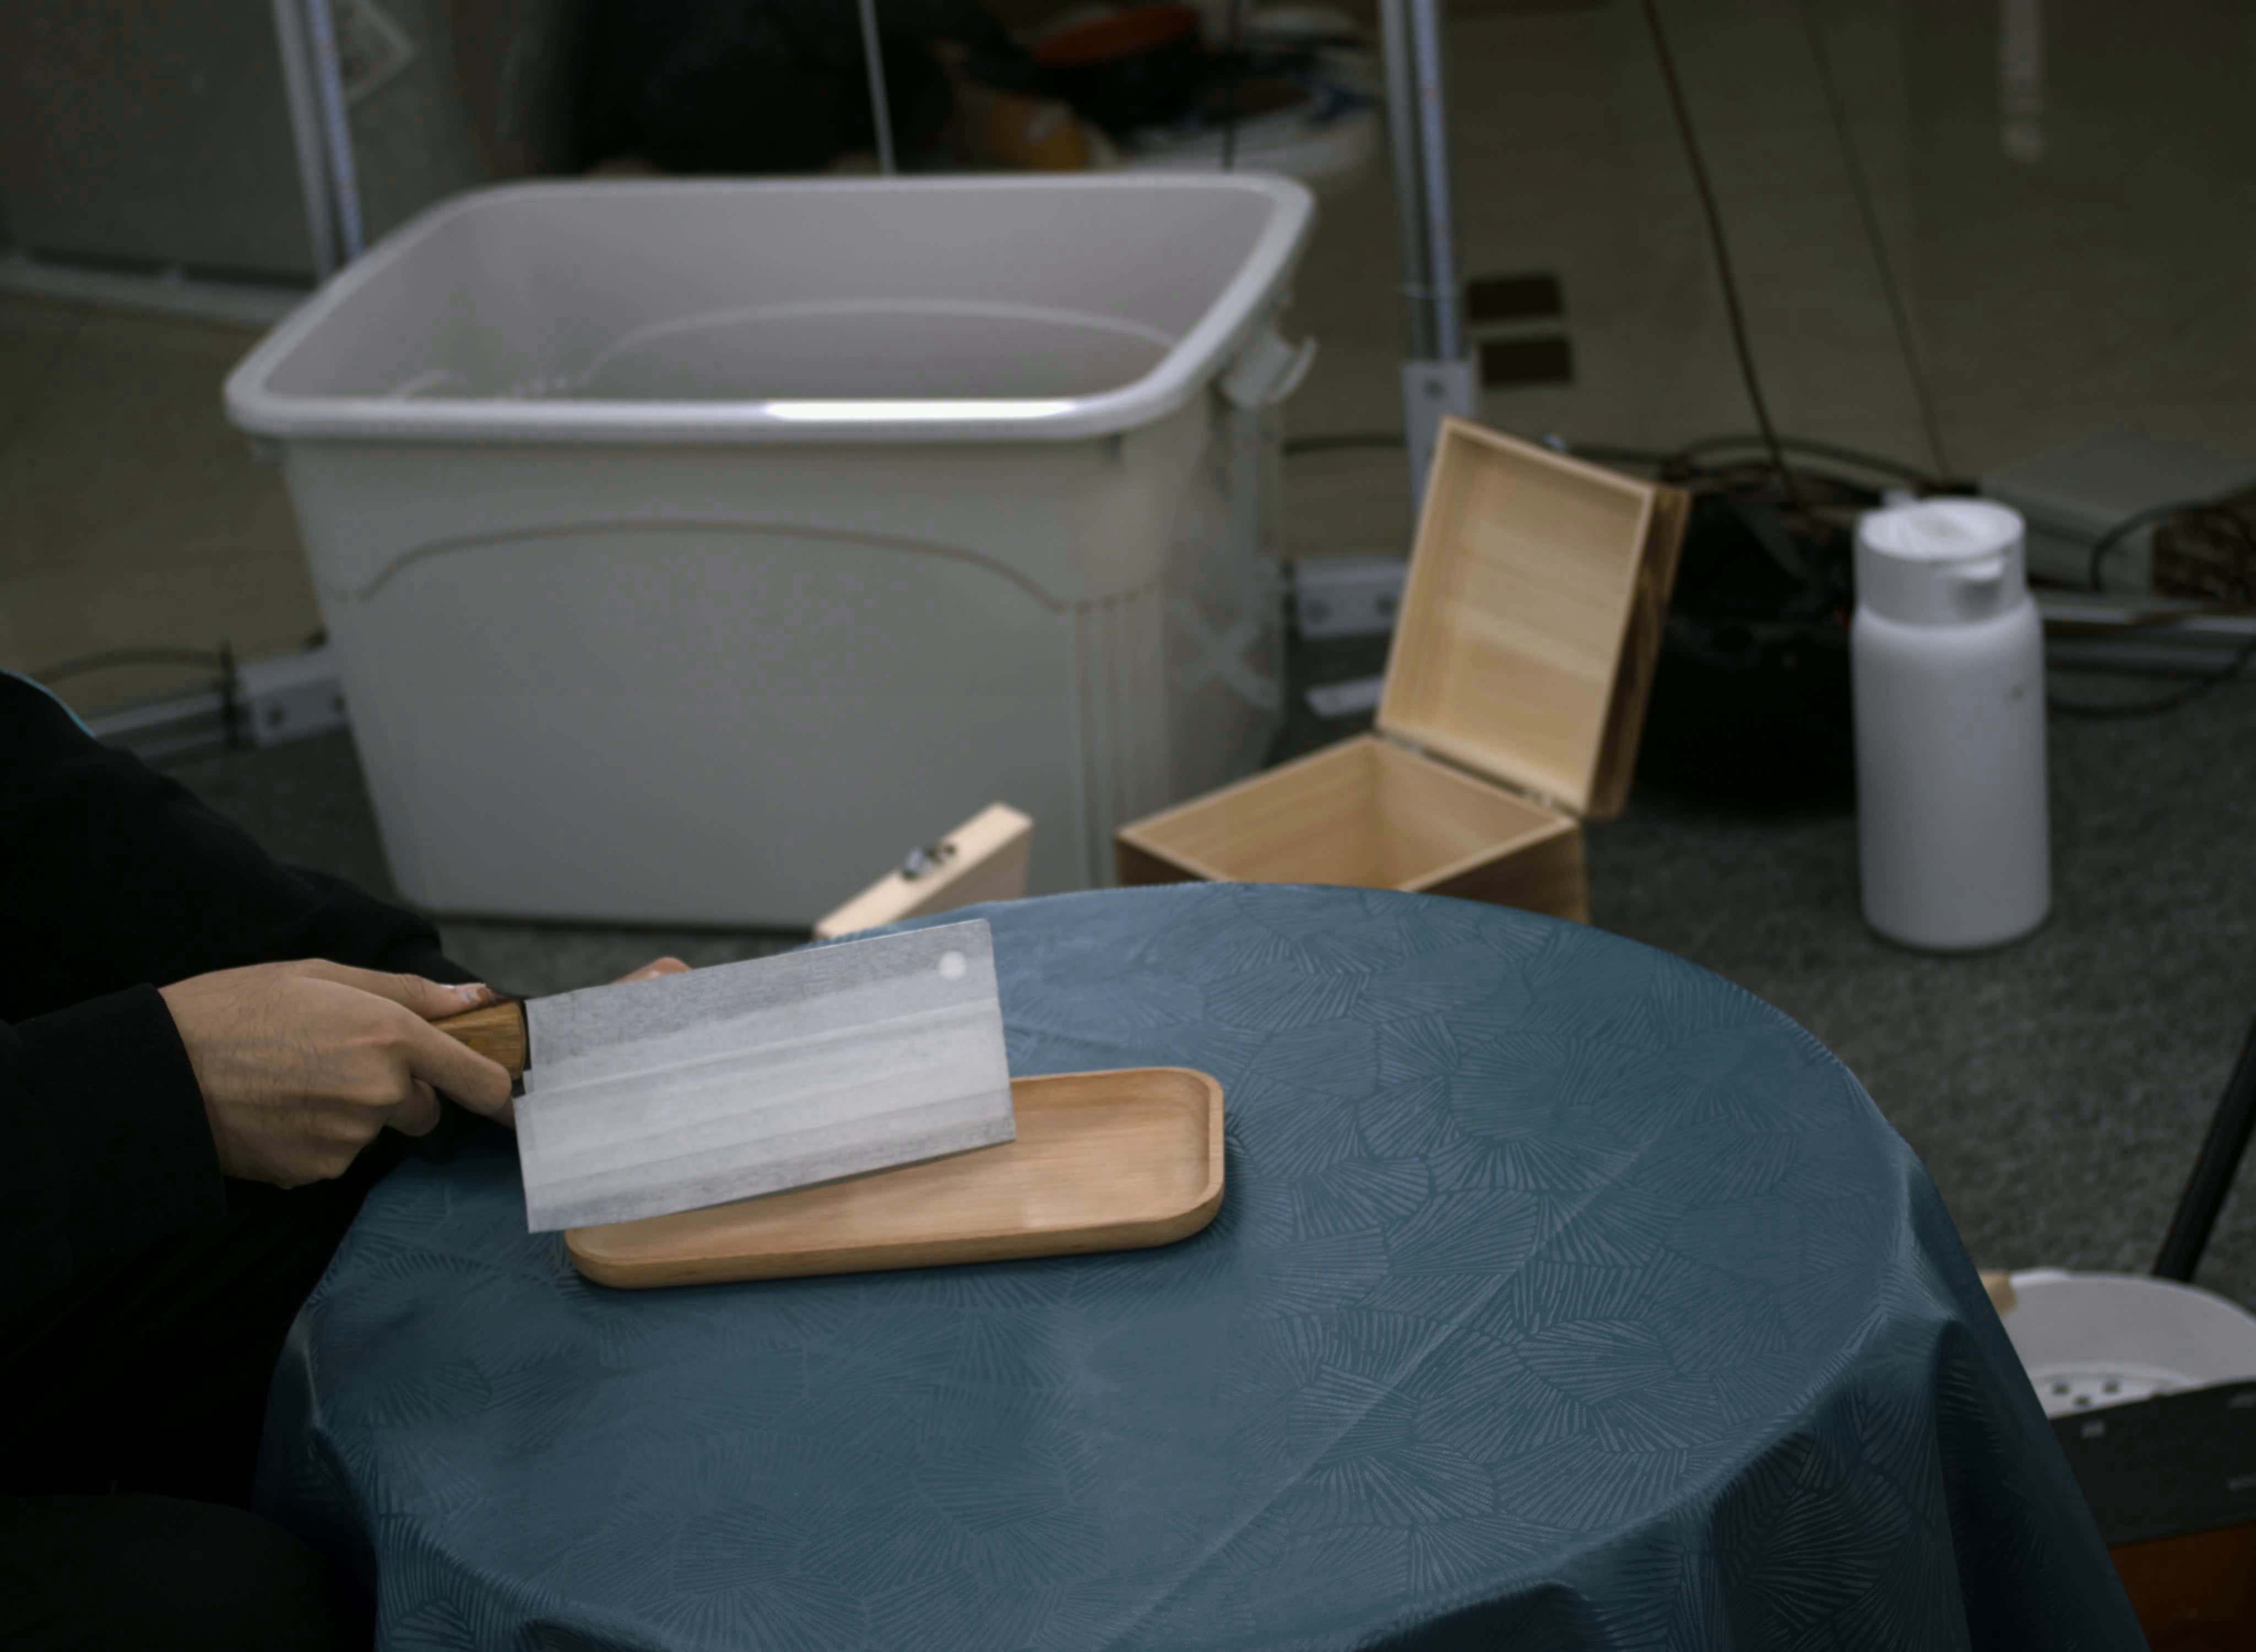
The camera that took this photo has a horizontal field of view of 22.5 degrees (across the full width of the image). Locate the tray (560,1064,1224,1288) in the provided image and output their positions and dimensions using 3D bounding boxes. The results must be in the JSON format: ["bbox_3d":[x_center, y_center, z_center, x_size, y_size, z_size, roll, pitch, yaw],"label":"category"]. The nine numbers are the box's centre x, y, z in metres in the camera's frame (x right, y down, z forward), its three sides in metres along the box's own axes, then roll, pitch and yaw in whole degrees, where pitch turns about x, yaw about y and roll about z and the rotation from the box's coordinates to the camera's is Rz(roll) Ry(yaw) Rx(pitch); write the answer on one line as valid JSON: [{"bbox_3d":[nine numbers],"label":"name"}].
[{"bbox_3d":[-0.088,0.134,2.161,0.250,0.023,0.129,-5,23,5],"label":"tray"}]

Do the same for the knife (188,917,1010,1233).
[{"bbox_3d":[-0.192,0.102,2.107,0.305,0.094,0.021,-10,15,-13],"label":"knife"}]
